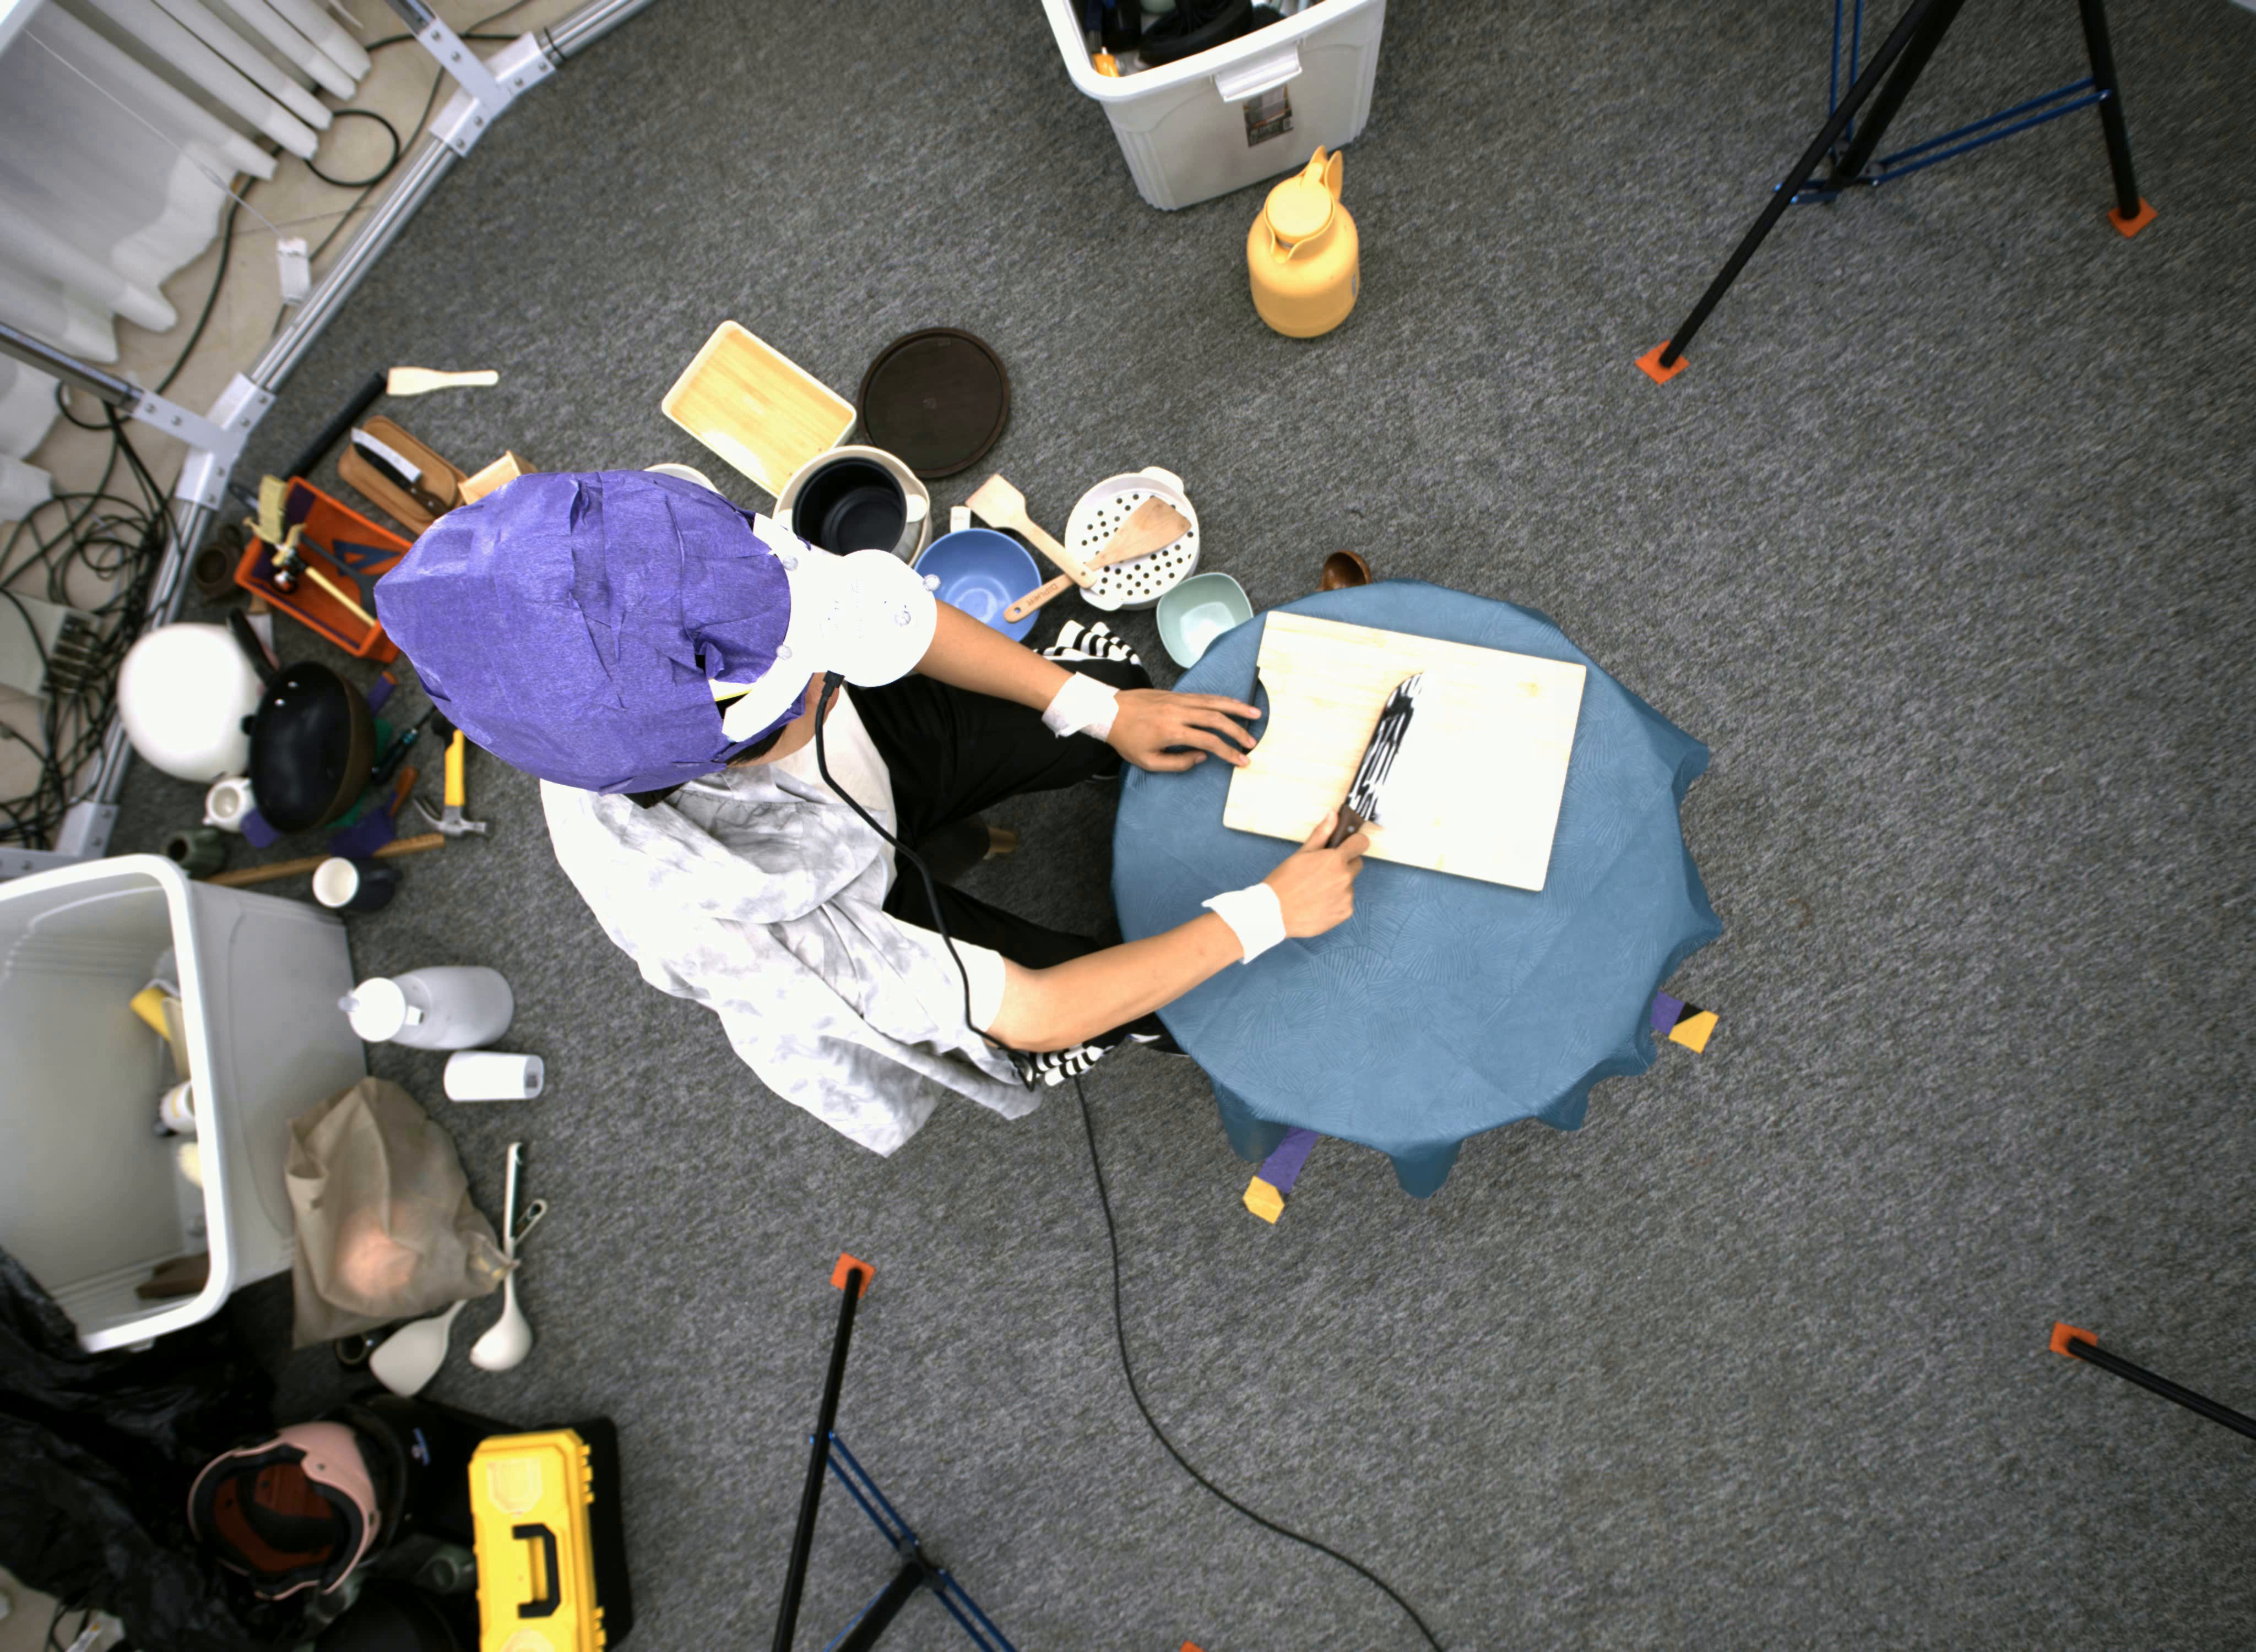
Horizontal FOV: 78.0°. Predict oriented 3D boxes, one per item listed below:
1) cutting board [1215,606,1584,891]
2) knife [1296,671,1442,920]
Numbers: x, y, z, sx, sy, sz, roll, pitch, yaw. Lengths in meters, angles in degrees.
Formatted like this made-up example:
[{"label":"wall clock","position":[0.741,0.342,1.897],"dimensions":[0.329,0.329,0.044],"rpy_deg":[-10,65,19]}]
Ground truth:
[{"label":"cutting board","position":[0.285,-0.086,1.456],"dimensions":[0.349,0.023,0.250],"rpy_deg":[11,88,11]},{"label":"knife","position":[0.253,-0.034,1.423],"dimensions":[0.068,0.024,0.299],"rpy_deg":[25,88,-29]}]
